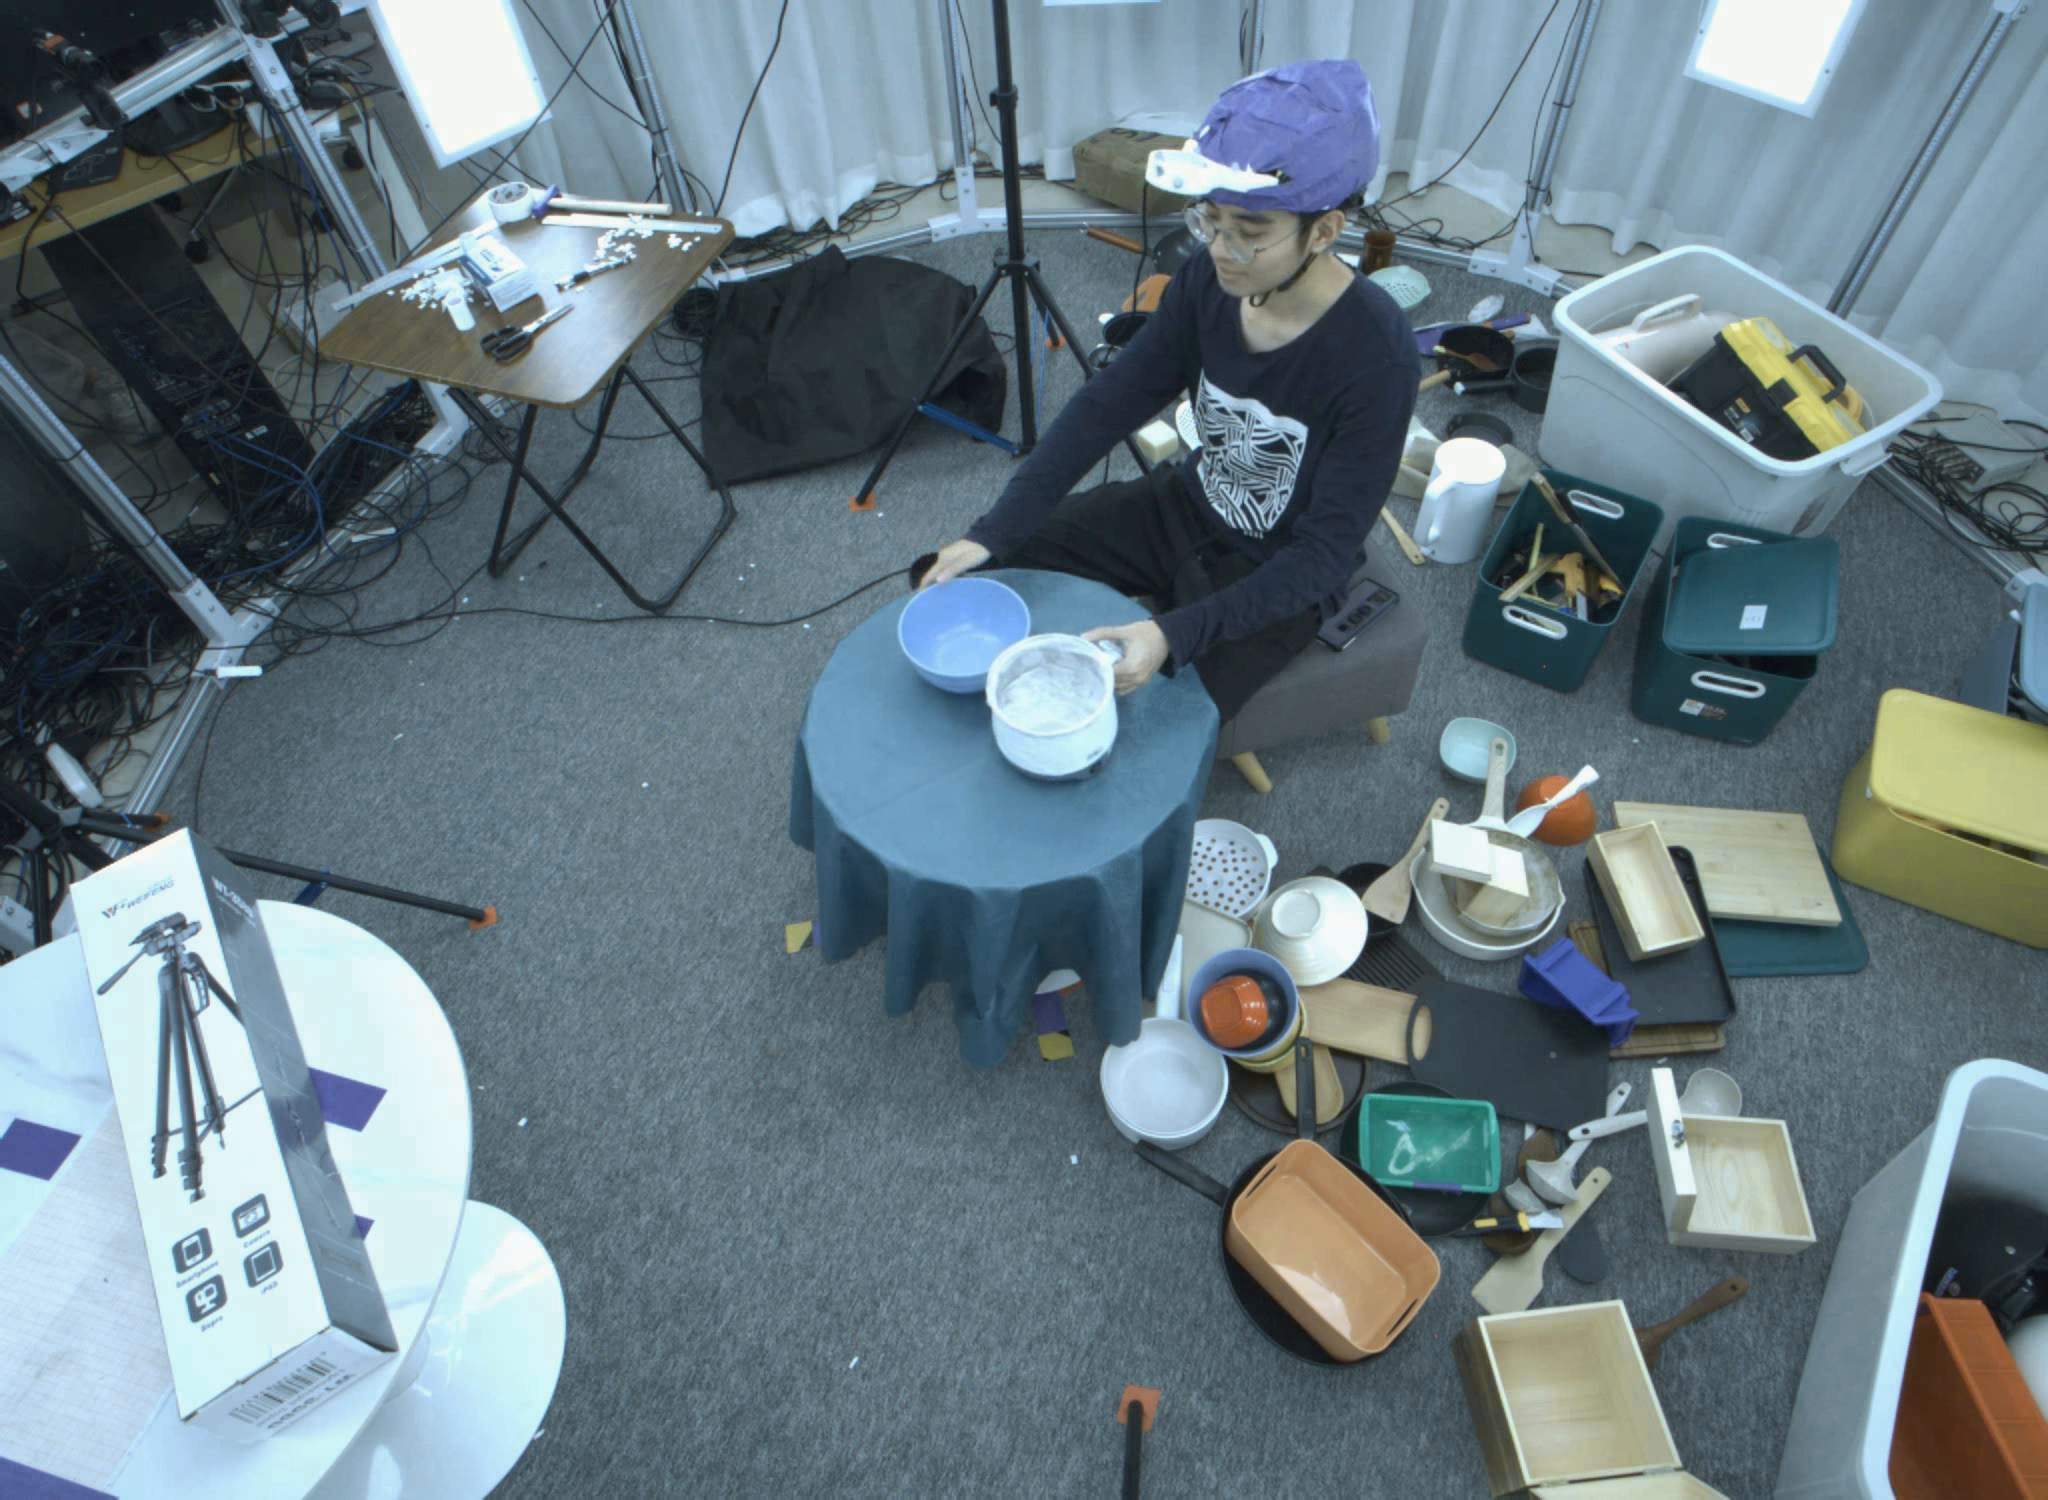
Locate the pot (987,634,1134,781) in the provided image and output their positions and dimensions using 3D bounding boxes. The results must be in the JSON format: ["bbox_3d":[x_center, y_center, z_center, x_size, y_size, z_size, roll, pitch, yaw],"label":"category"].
[{"bbox_3d":[0.062,-0.072,1.757,0.235,0.138,0.175,-38,63,-20],"label":"pot"}]

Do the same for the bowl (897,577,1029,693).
[{"bbox_3d":[-0.086,-0.158,1.849,0.196,0.096,0.194,-2,55,4],"label":"bowl"}]
